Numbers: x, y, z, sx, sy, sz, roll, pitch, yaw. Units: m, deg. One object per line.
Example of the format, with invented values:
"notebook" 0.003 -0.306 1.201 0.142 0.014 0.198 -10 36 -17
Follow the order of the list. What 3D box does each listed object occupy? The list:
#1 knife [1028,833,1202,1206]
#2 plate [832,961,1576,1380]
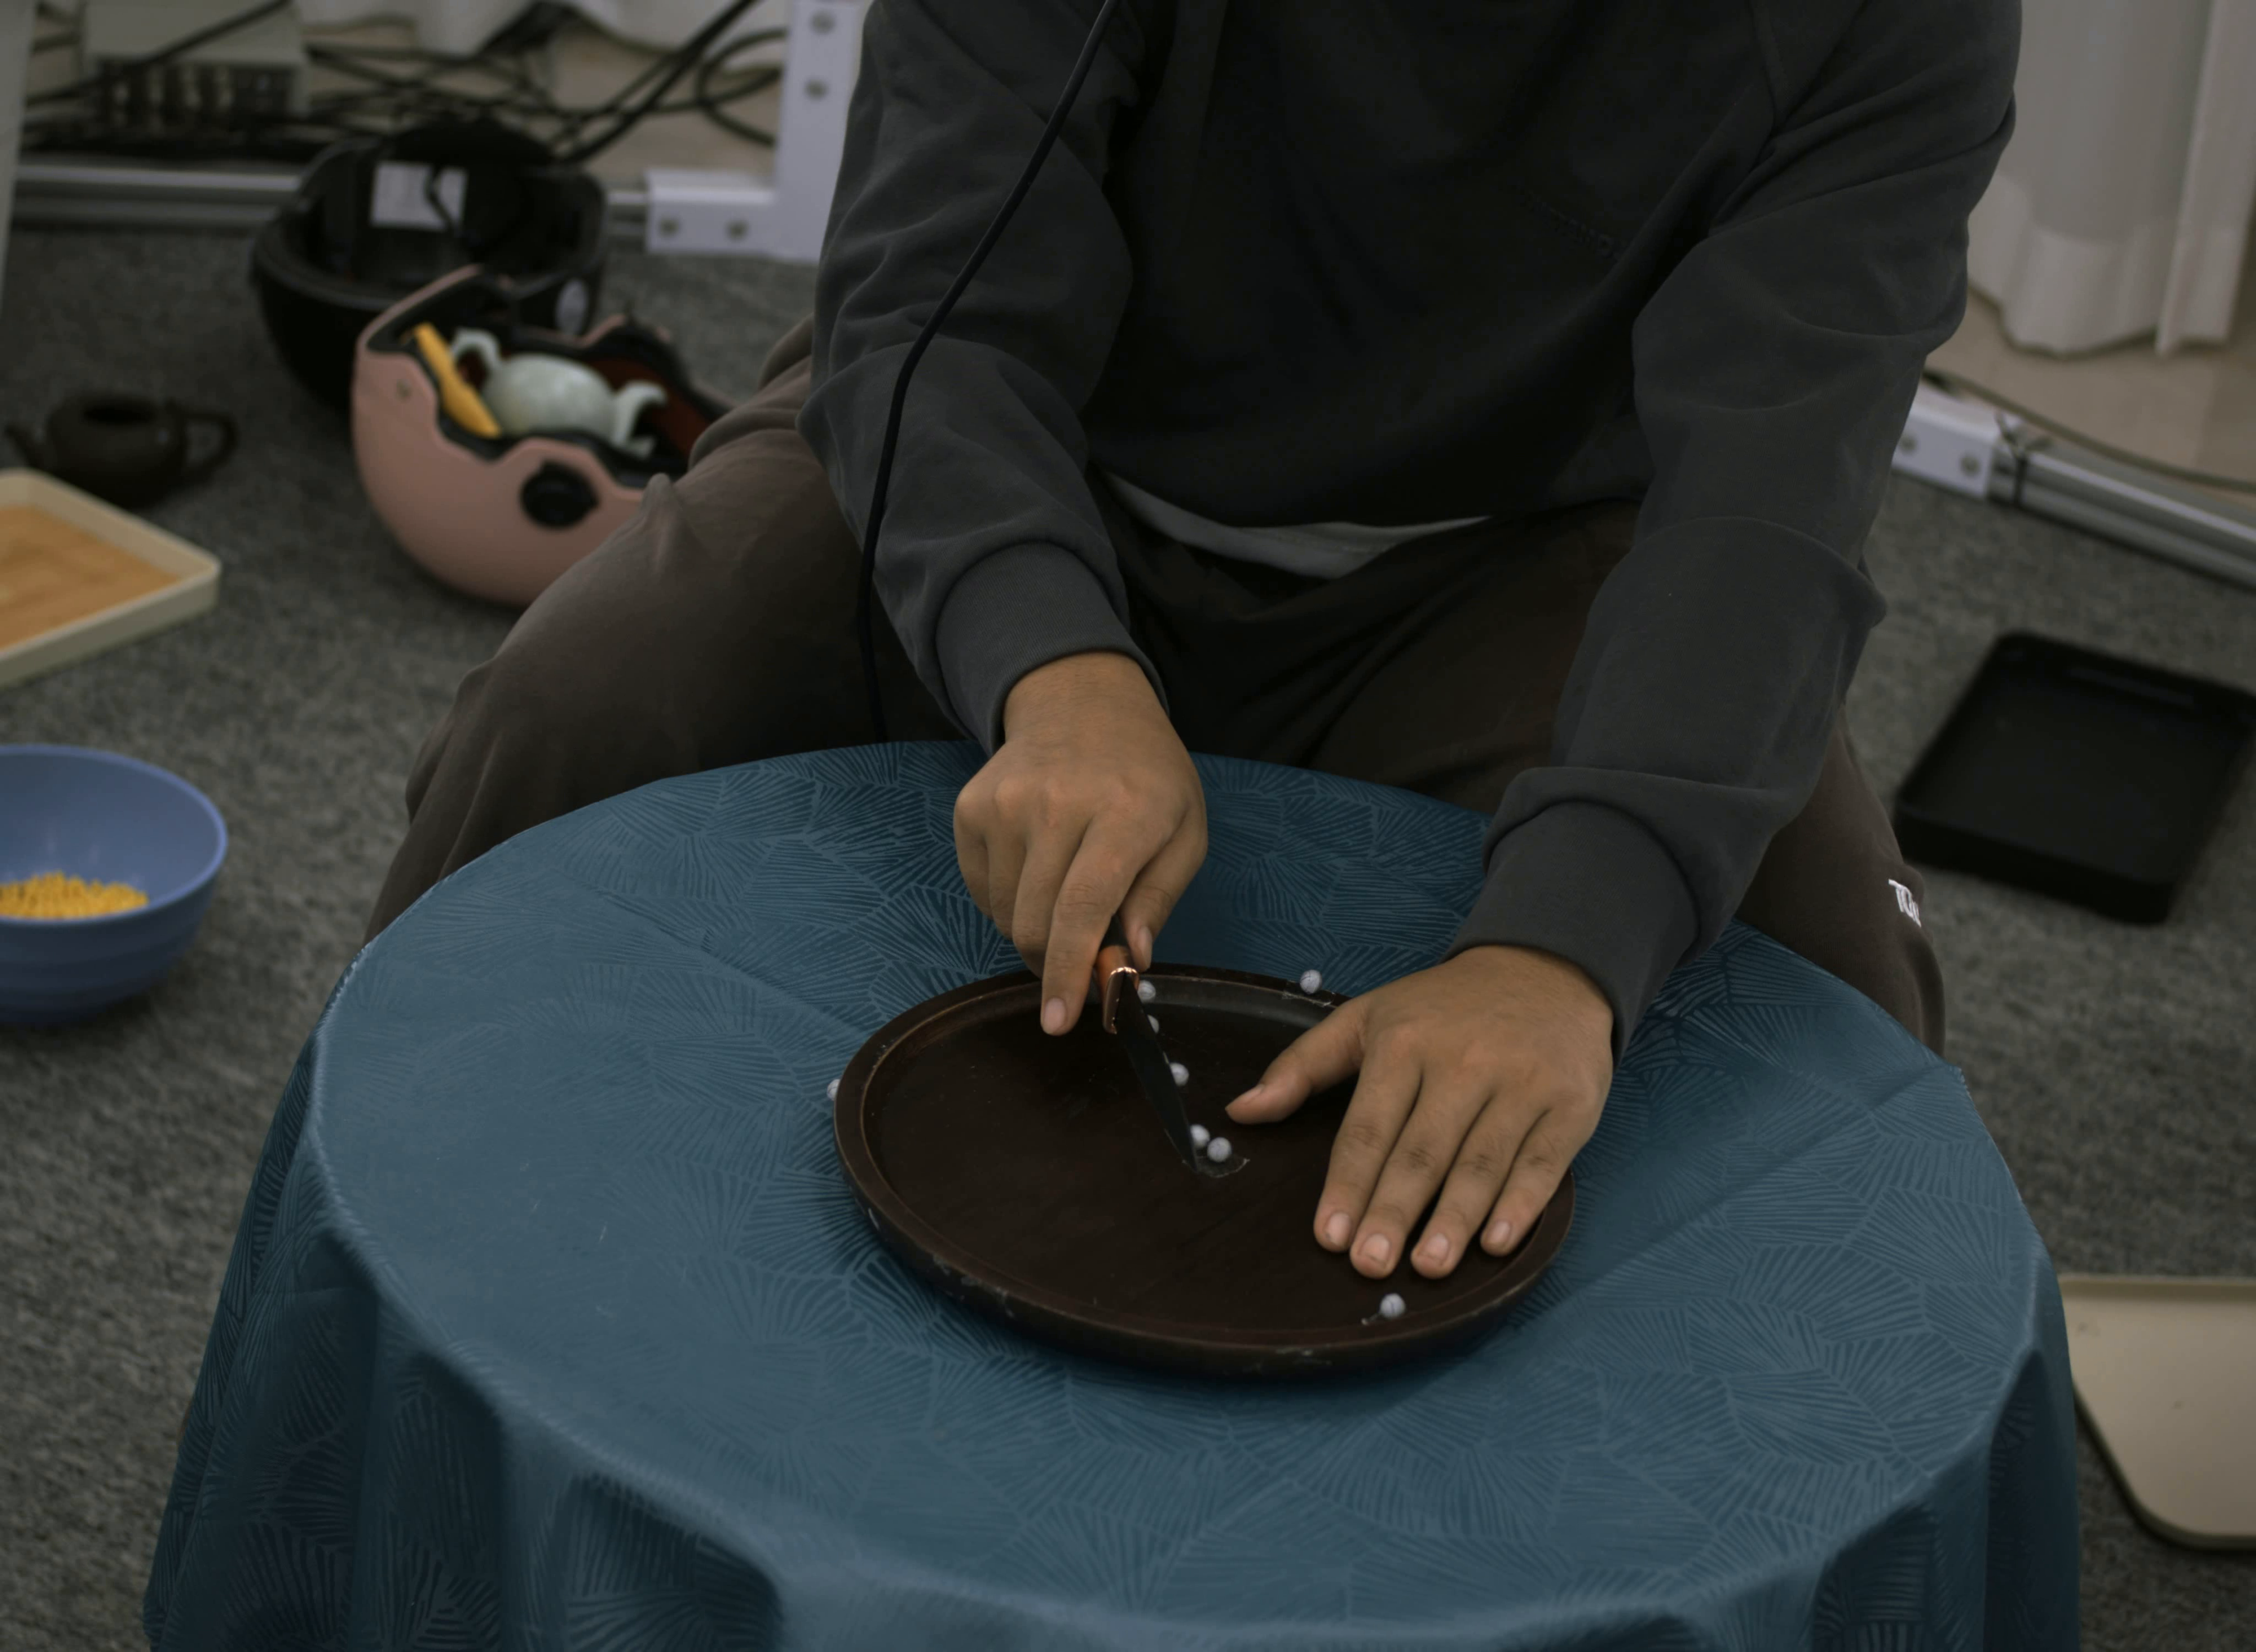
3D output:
"knife" -0.003 0.063 1.830 0.017 0.026 0.227 5 27 -18
"plate" 0.025 0.115 1.804 0.254 0.029 0.256 5 26 -3
